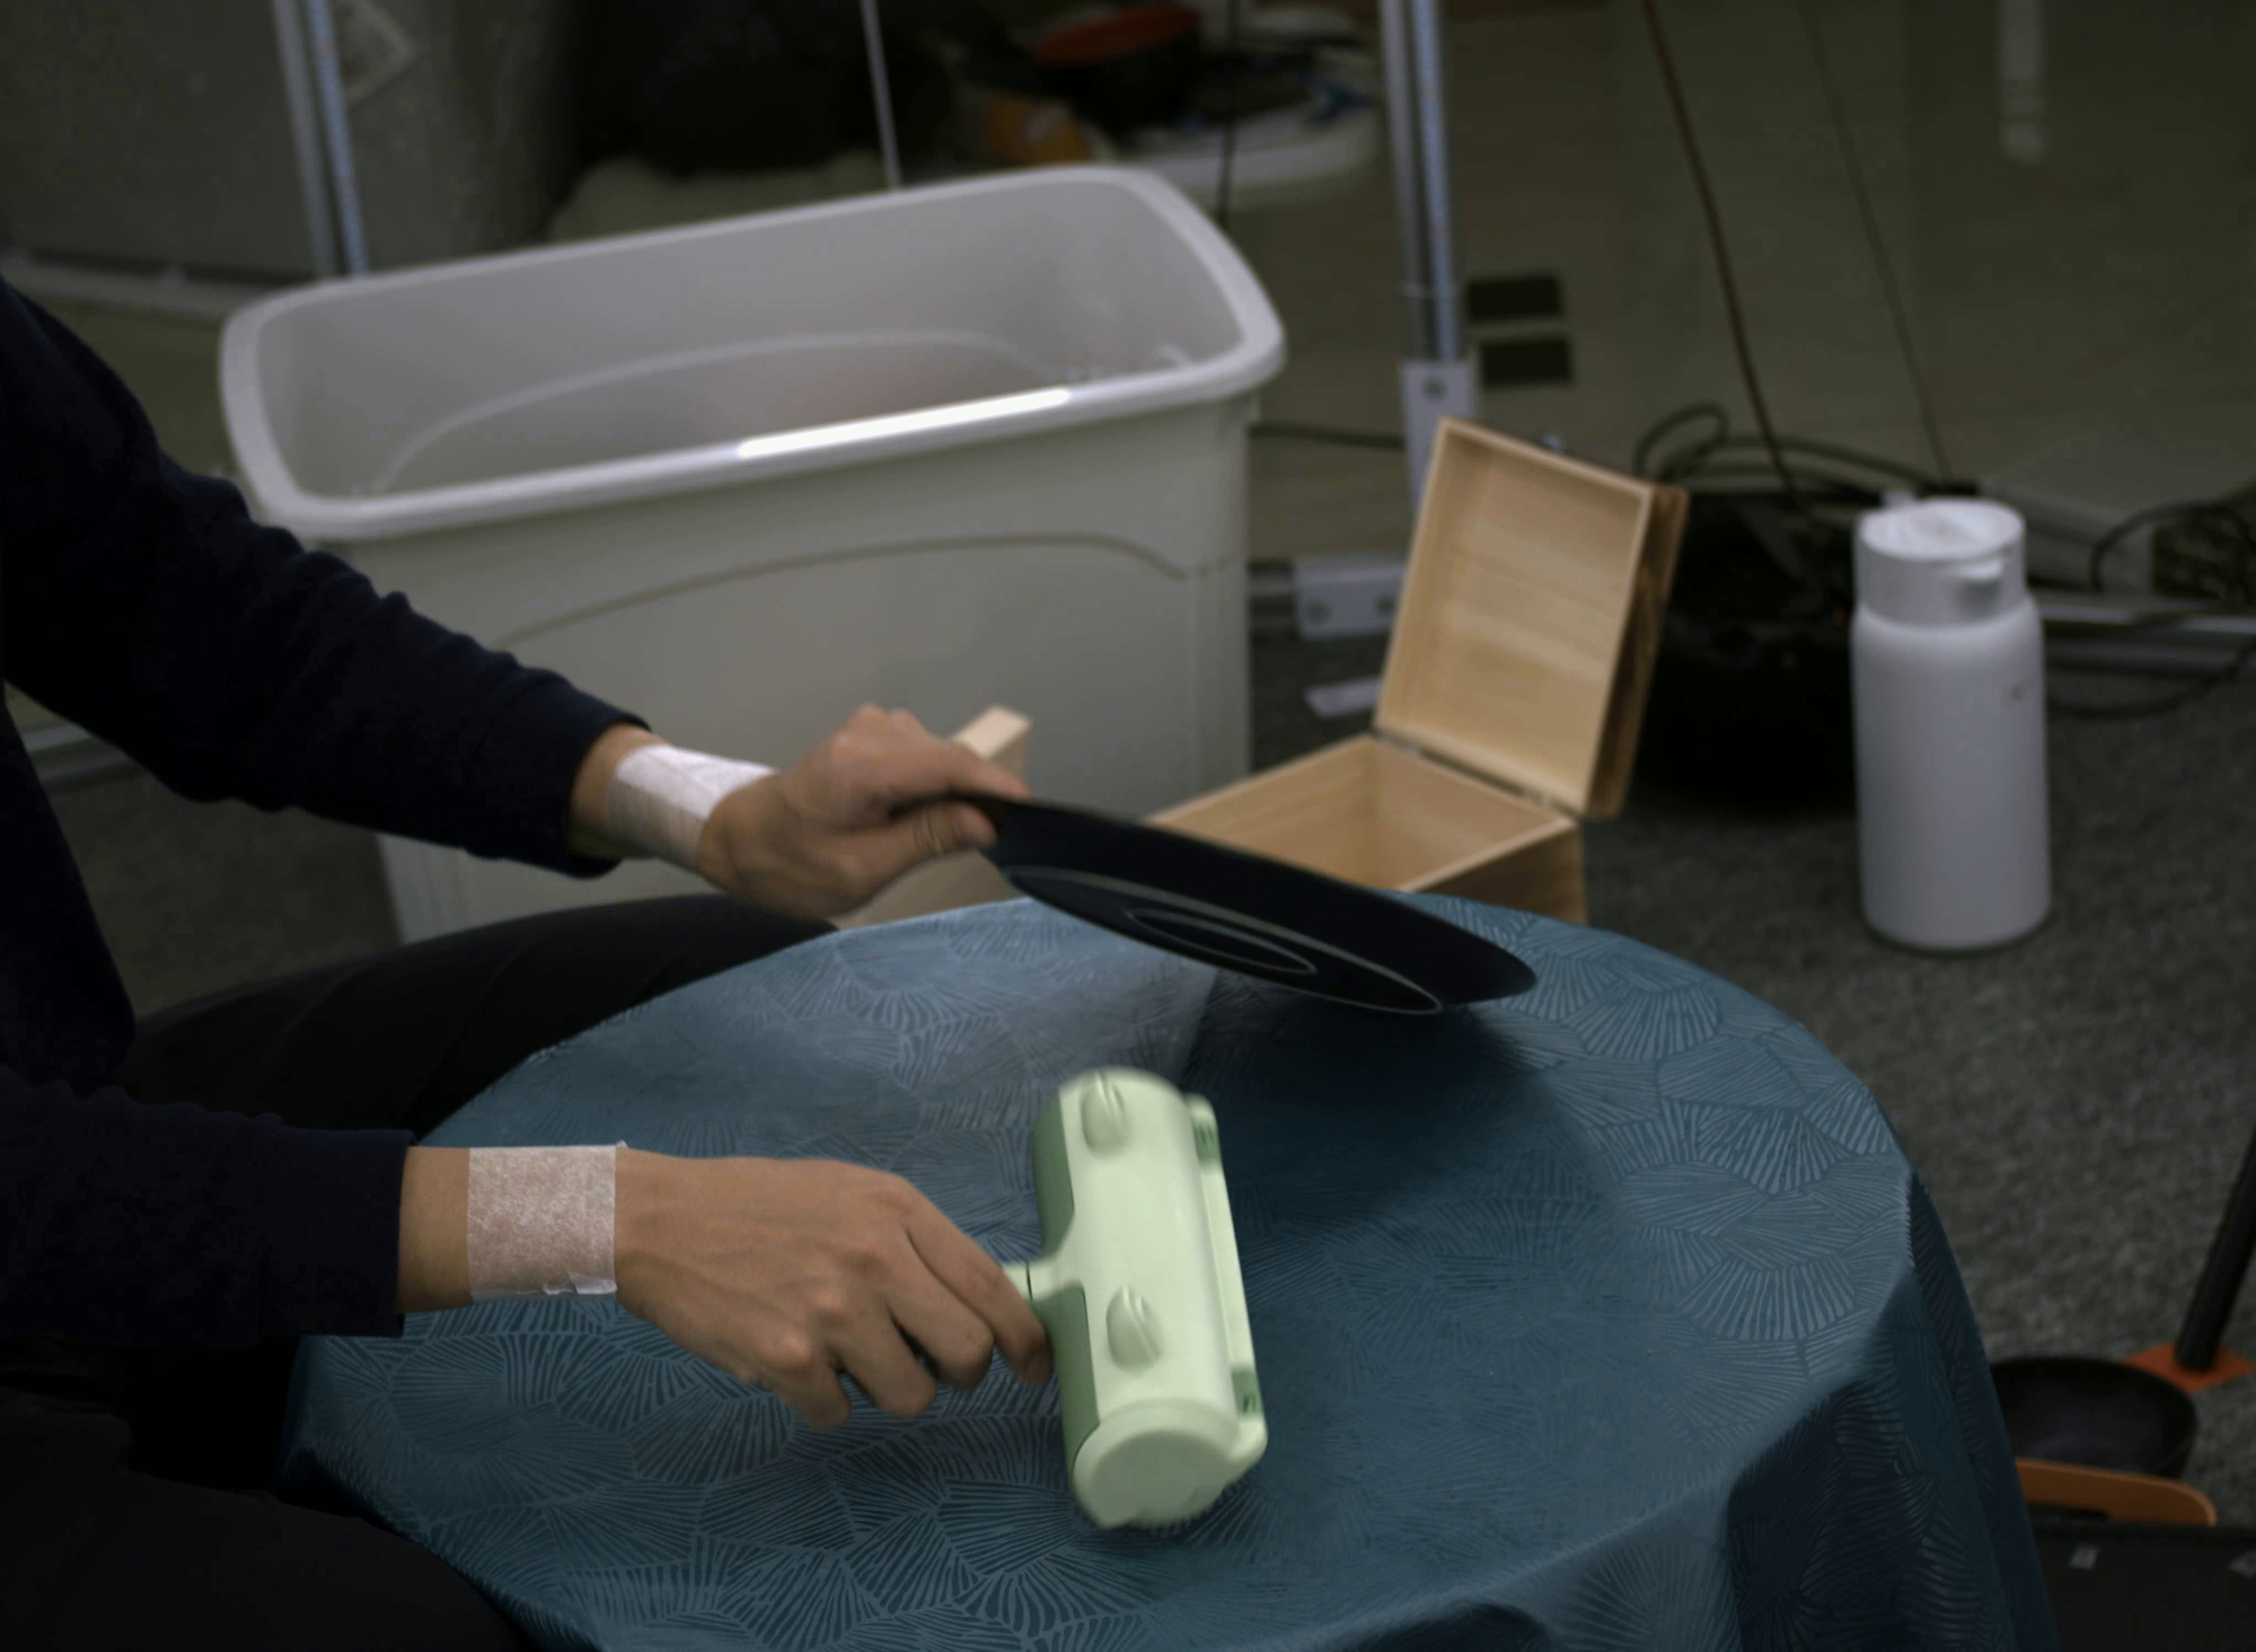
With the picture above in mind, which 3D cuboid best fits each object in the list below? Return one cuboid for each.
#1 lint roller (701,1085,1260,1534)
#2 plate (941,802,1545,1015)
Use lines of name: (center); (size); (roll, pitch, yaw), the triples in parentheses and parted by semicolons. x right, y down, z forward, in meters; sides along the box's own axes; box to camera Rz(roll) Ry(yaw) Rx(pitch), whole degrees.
lint roller: (-0.053, 0.155, 1.961); (0.183, 0.083, 0.195); (5, 34, -9)
plate: (0.042, 0.037, 2.190); (0.244, 0.023, 0.245); (16, -6, 2)
